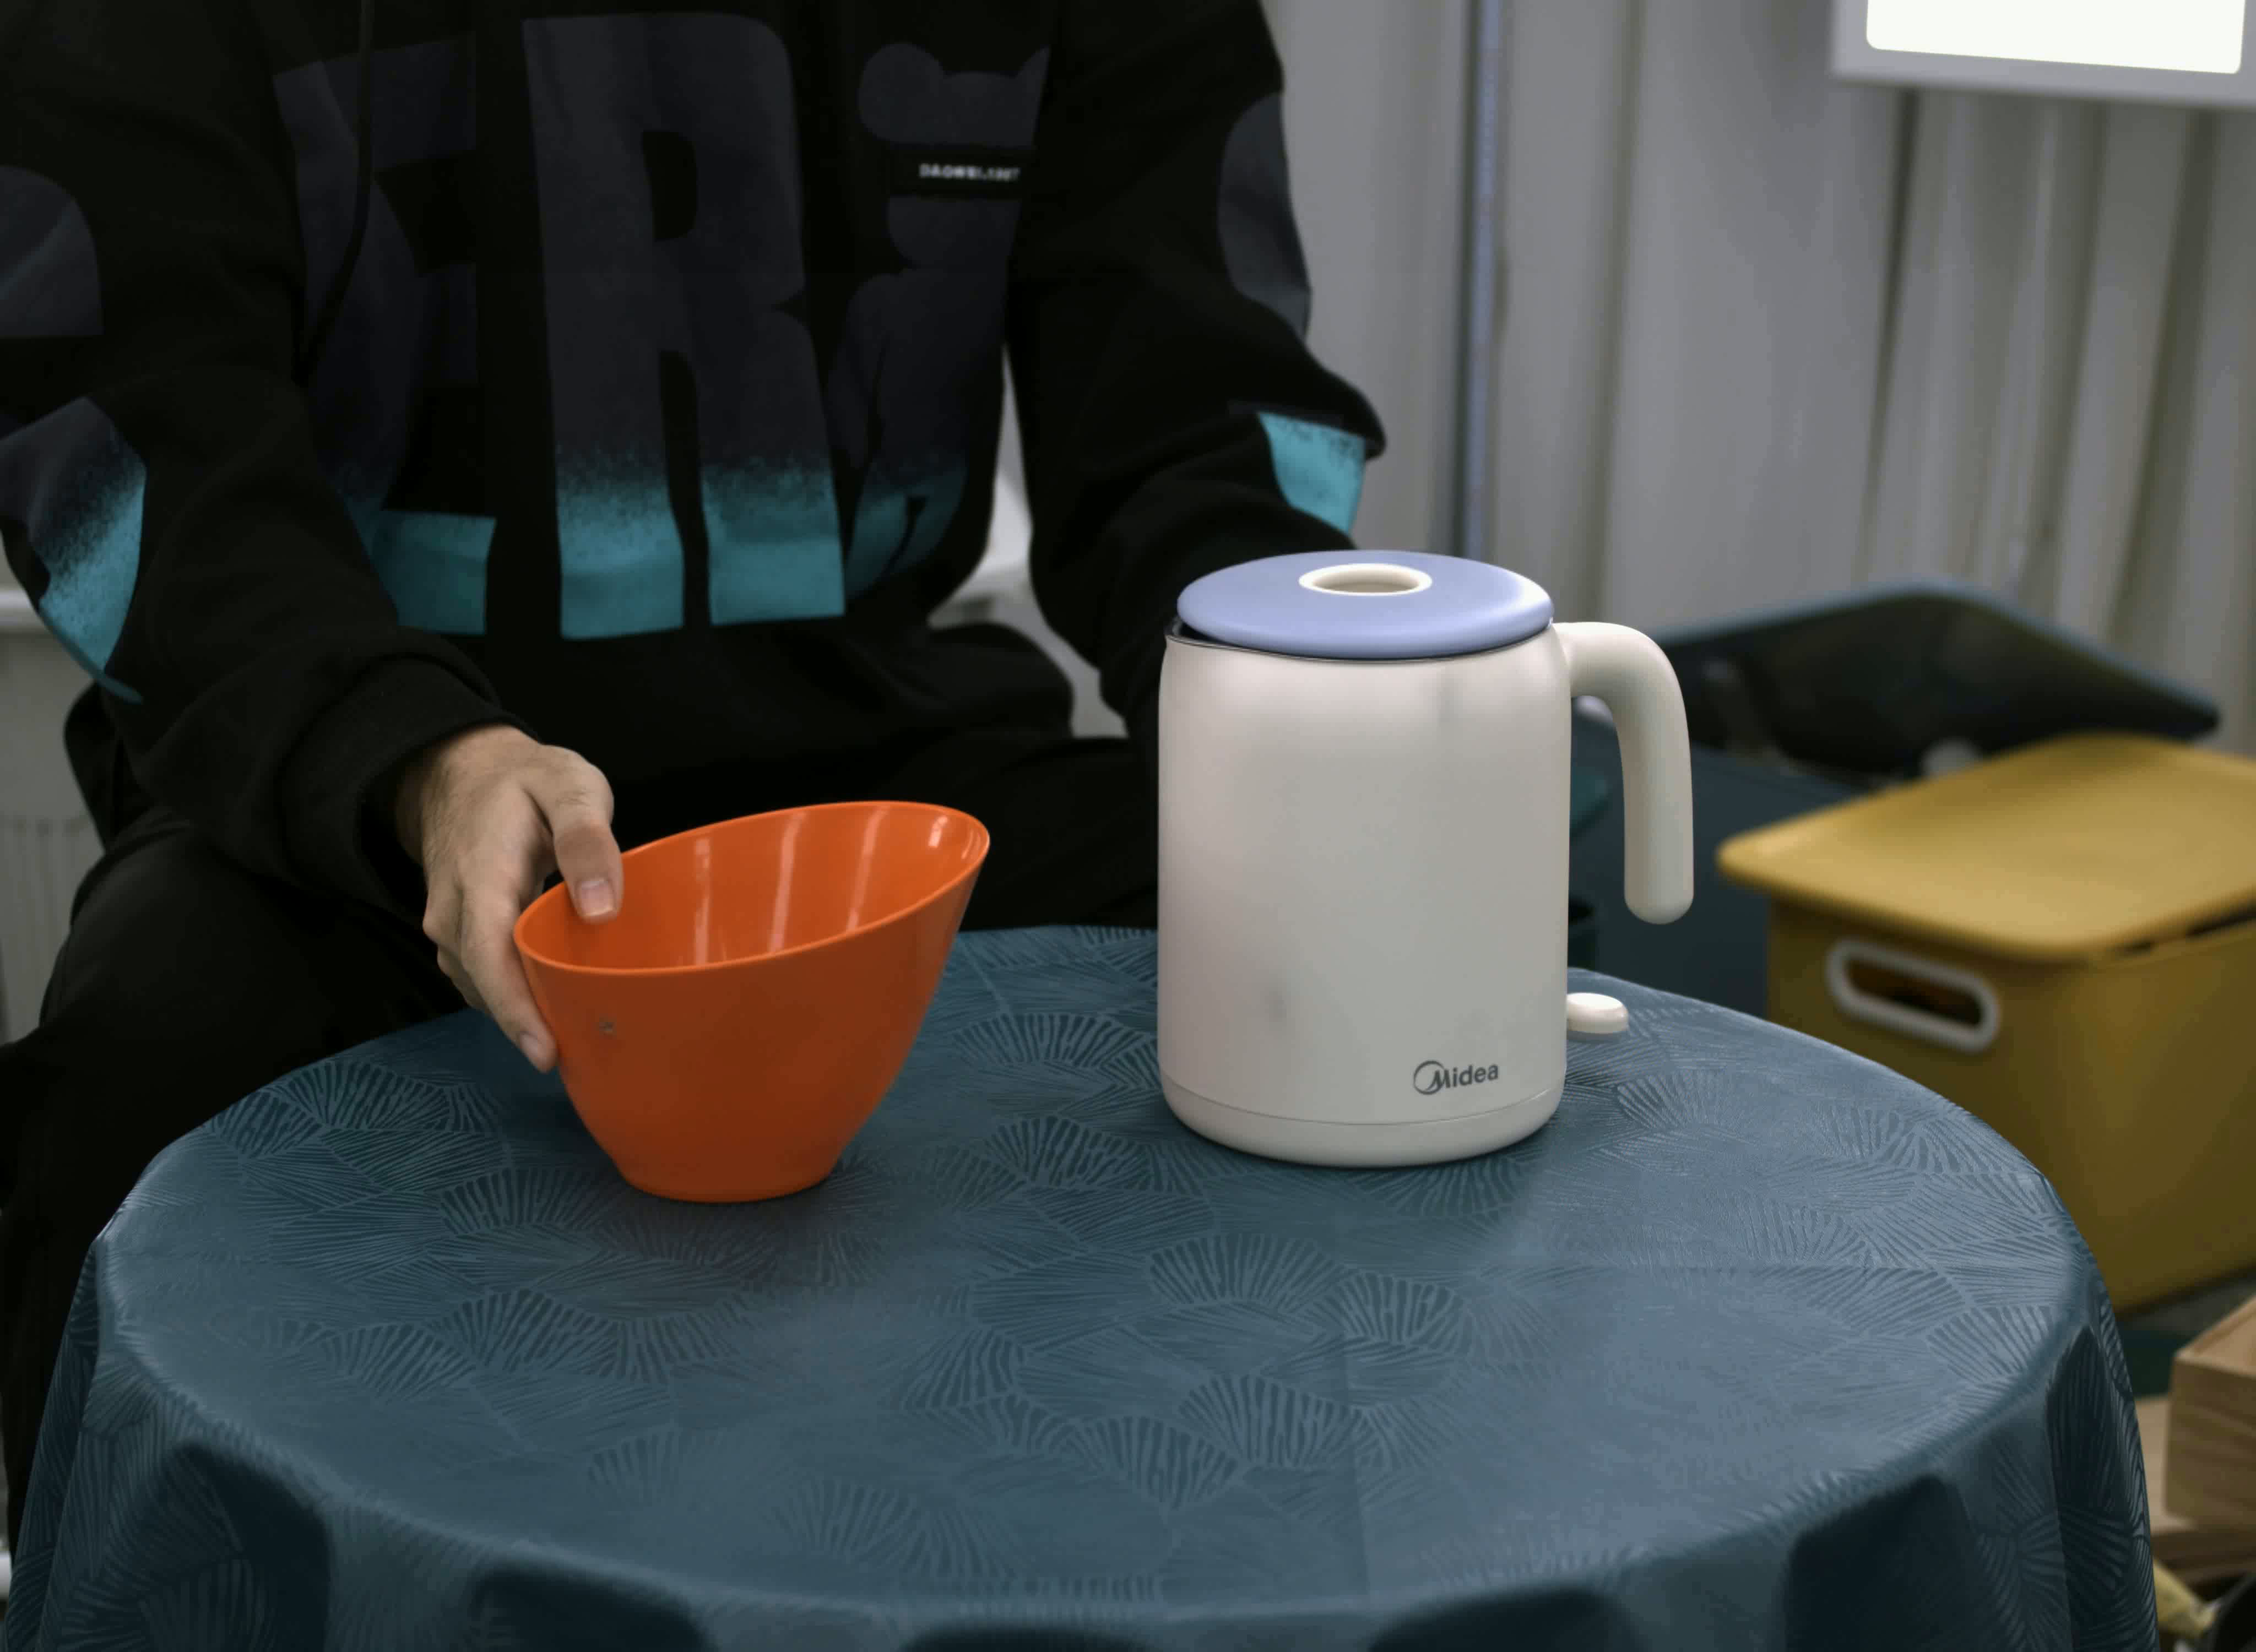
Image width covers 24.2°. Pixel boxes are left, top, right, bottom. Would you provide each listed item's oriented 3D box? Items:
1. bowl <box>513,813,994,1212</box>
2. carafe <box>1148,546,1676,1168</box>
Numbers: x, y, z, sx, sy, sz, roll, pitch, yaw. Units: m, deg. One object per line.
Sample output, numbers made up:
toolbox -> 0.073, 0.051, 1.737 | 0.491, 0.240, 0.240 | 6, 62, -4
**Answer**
bowl -> -0.114, 0.059, 1.619 | 0.147, 0.105, 0.147 | 0, 16, 1
carafe -> 0.095, 0.007, 1.684 | 0.192, 0.184, 0.130 | -5, 18, -27
